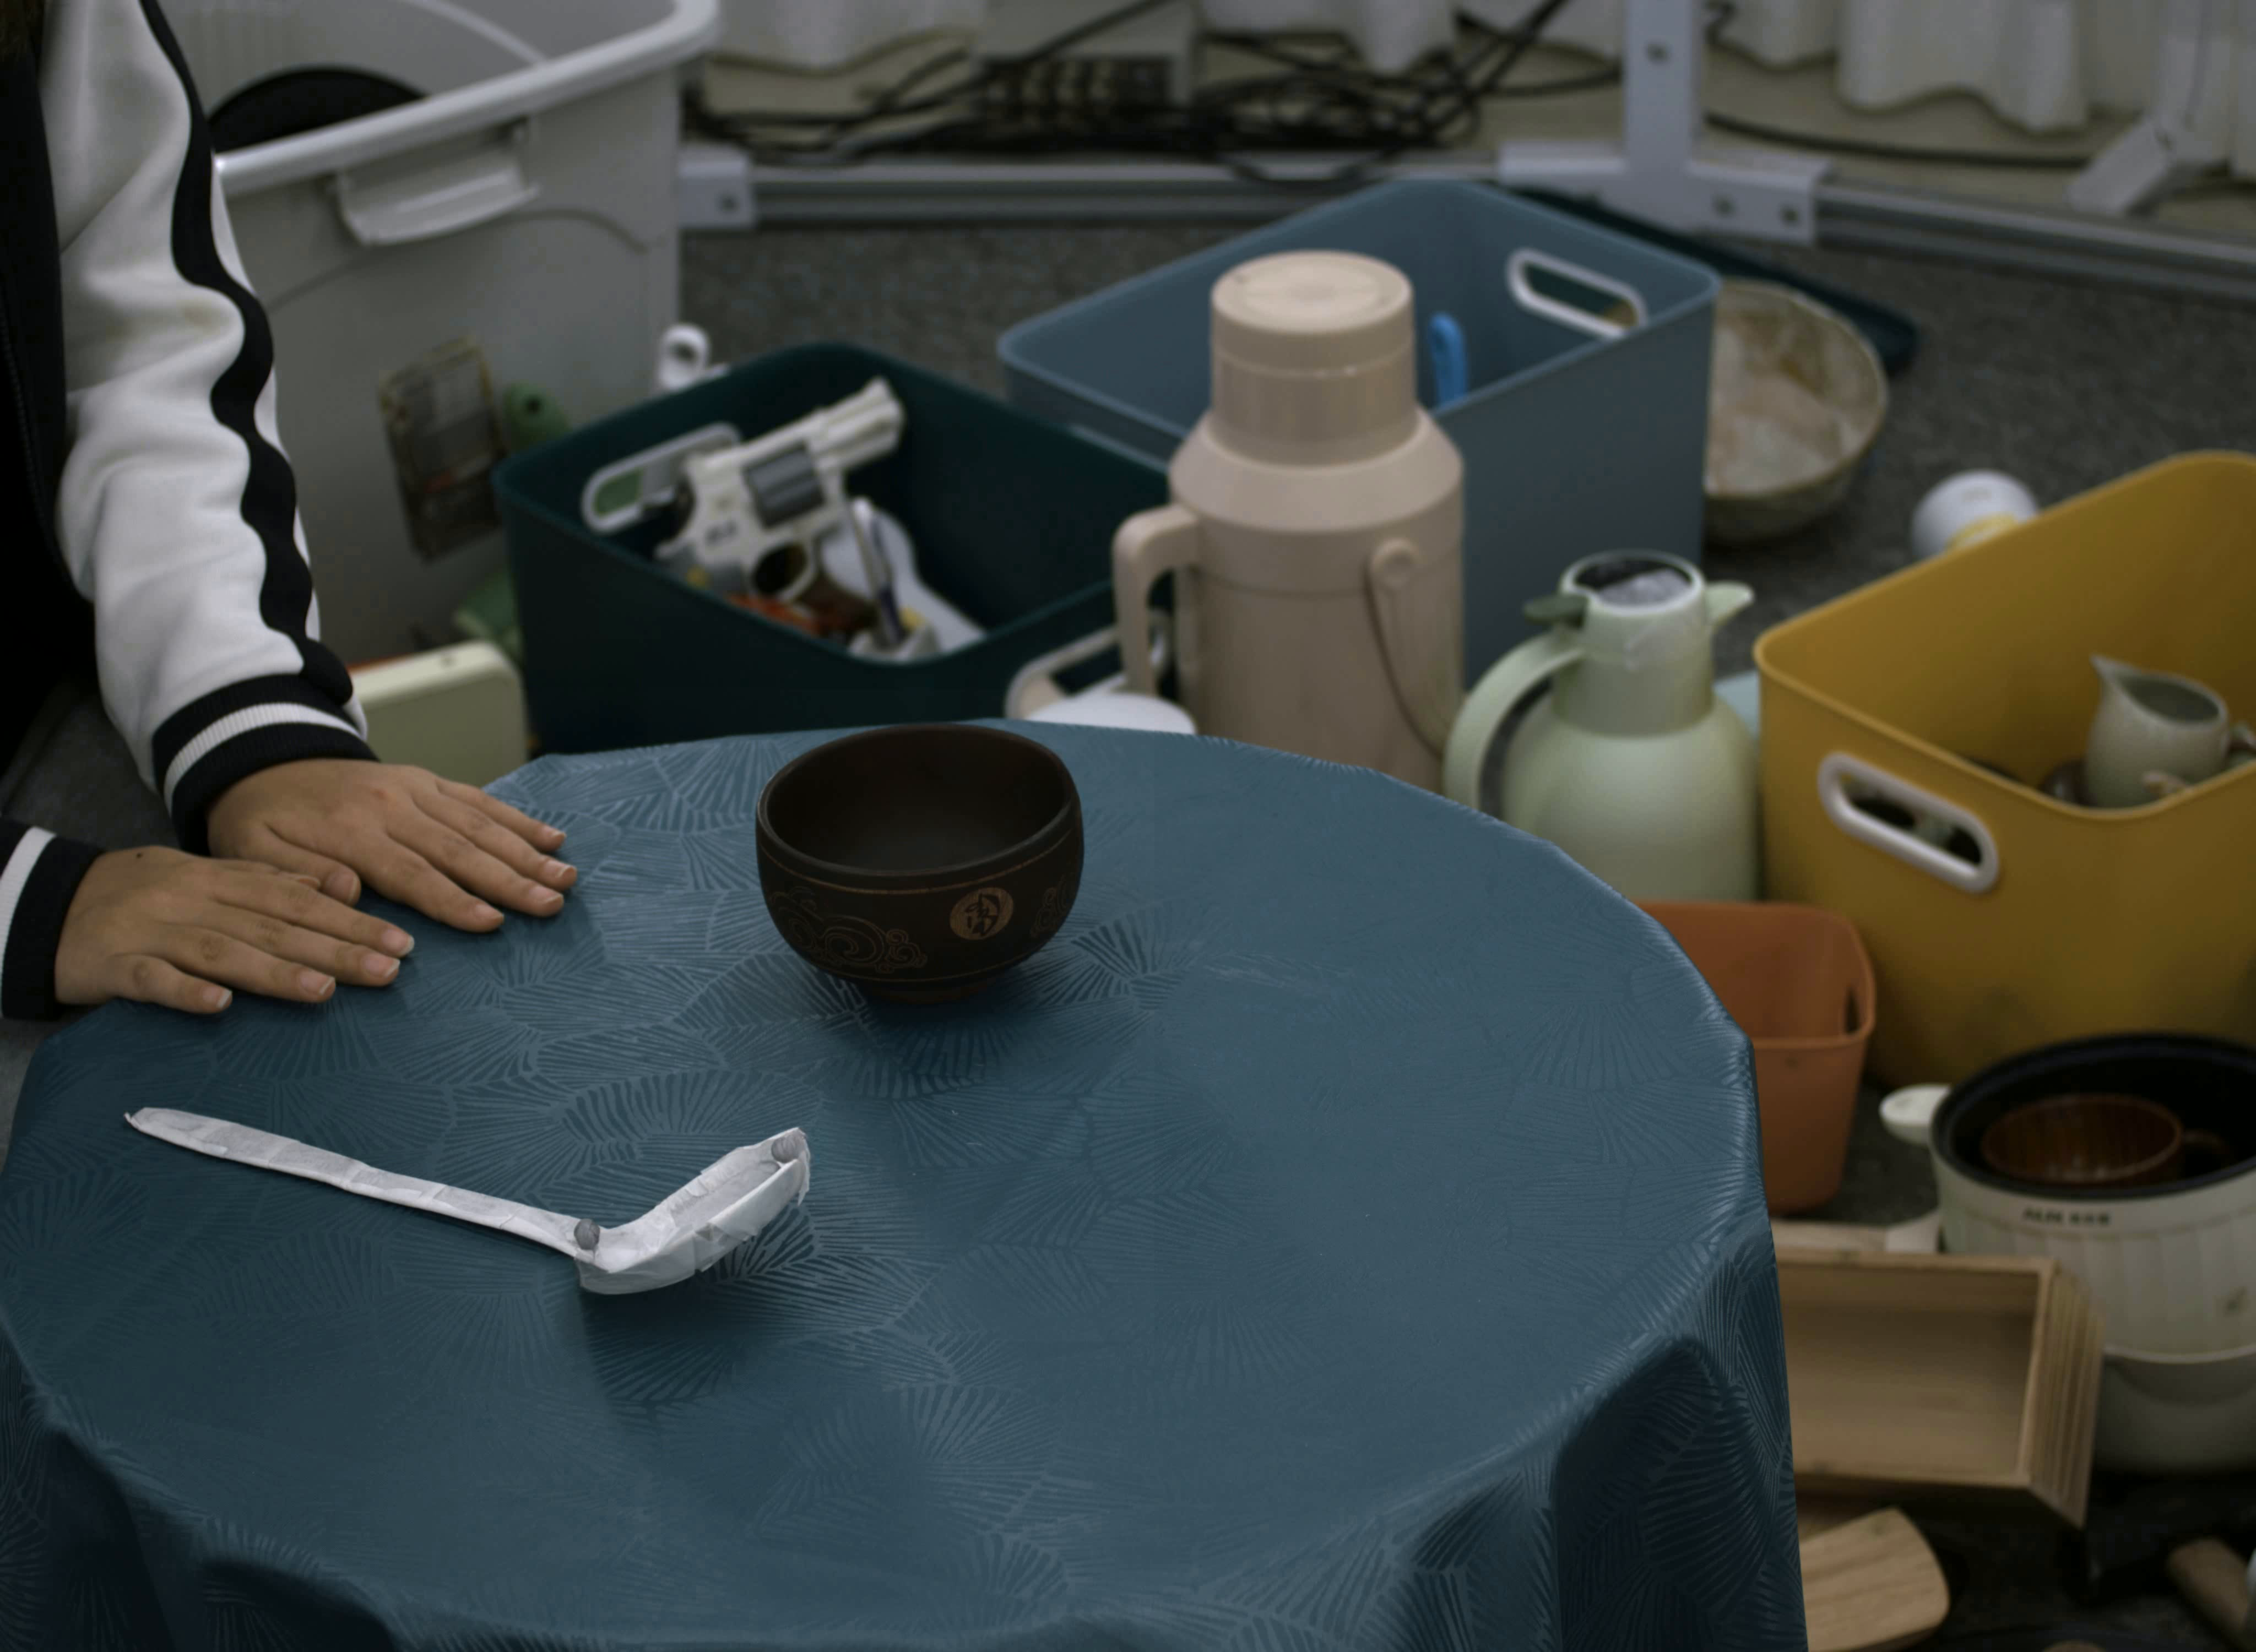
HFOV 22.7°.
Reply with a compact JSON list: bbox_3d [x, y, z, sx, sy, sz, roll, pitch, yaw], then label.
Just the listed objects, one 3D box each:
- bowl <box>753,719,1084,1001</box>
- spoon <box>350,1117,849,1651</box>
[{"bbox_3d":[-0.073,0.018,1.989,0.117,0.069,0.120,-2,27,1],"label":"bowl"},{"bbox_3d":[-0.184,0.204,1.839,0.059,0.276,0.101,31,10,5],"label":"spoon"}]
